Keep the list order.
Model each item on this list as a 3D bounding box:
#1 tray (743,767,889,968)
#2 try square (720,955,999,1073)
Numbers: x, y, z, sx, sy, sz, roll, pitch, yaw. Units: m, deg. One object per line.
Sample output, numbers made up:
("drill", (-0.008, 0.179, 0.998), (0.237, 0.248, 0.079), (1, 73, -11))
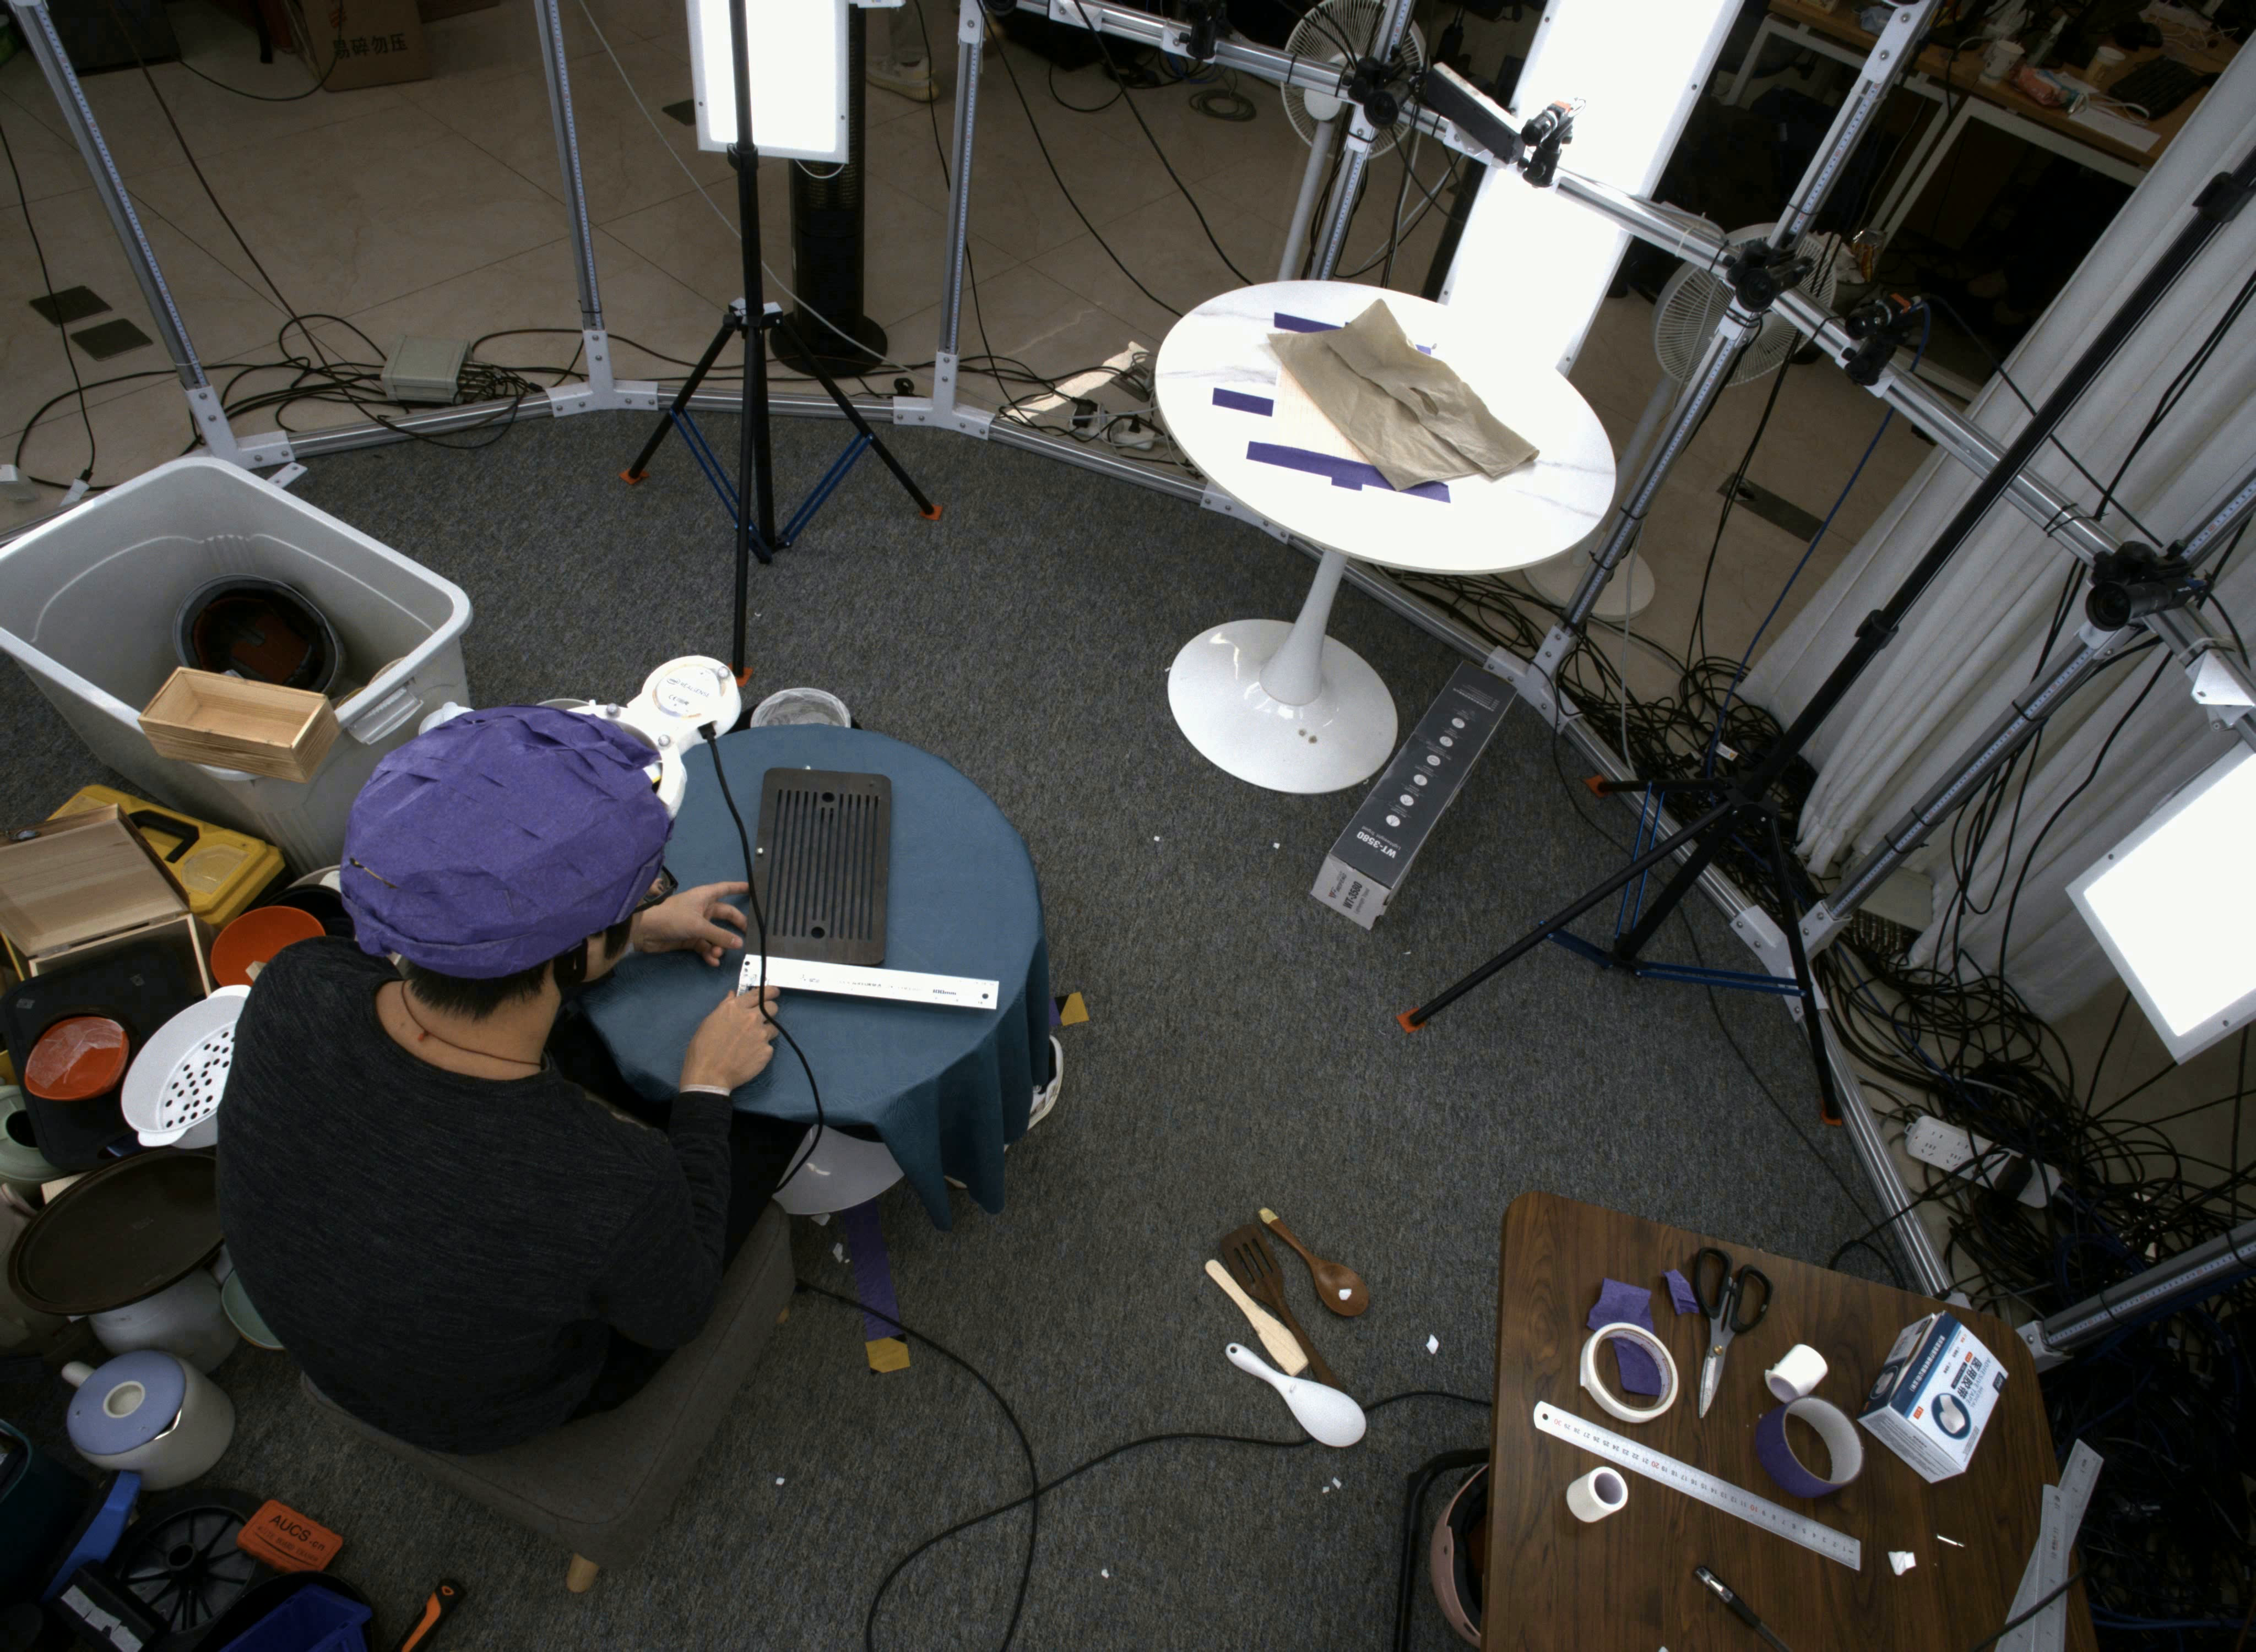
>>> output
("tray", (-0.398, 0.049, 1.674), (0.170, 0.019, 0.300), (4, 53, -14))
("try square", (-0.315, 0.231, 1.546), (0.312, 0.016, 0.149), (7, 54, -9))
